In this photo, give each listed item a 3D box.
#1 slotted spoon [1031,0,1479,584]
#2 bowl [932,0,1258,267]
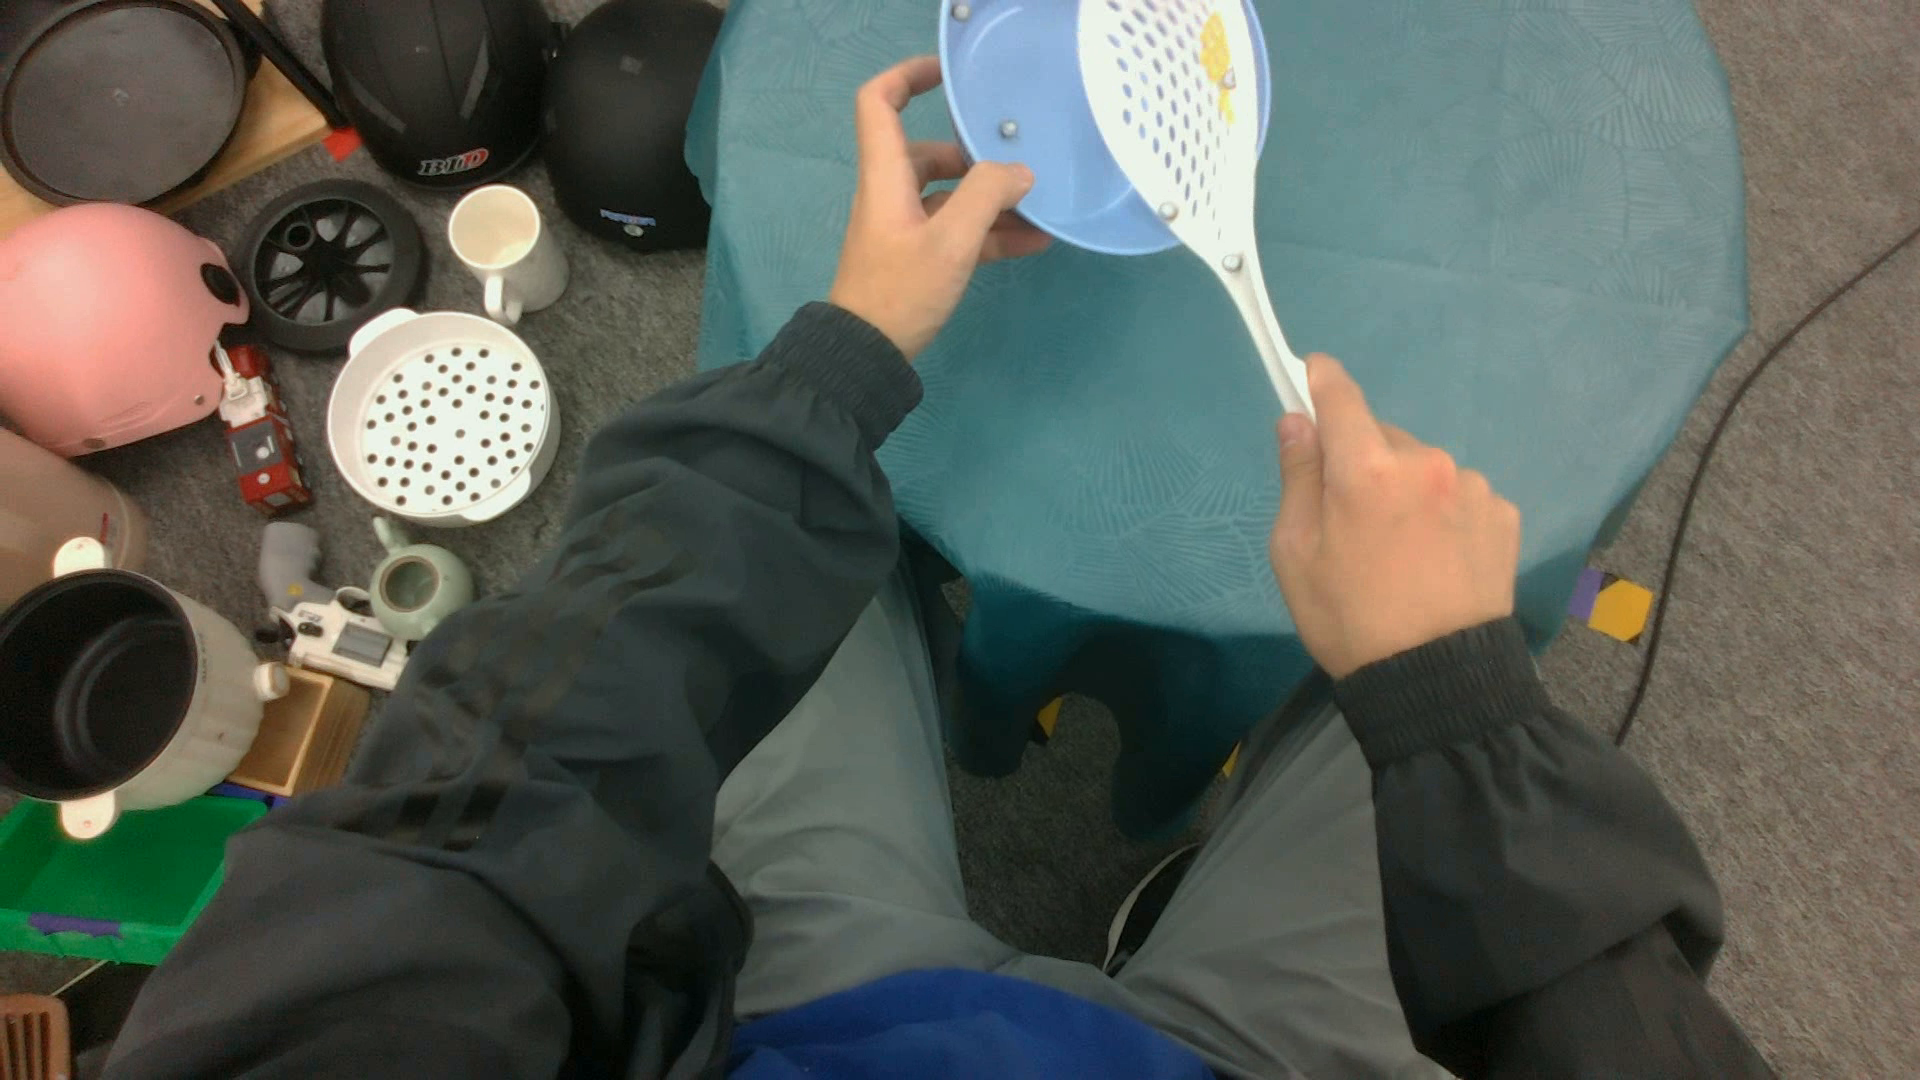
[{"bbox_3d":[0.130,-0.128,0.625,0.050,0.136,0.348,-18,76,-20],"label":"slotted spoon"},{"bbox_3d":[0.058,-0.219,0.695,0.176,0.070,0.176,1,88,-22],"label":"bowl"}]
